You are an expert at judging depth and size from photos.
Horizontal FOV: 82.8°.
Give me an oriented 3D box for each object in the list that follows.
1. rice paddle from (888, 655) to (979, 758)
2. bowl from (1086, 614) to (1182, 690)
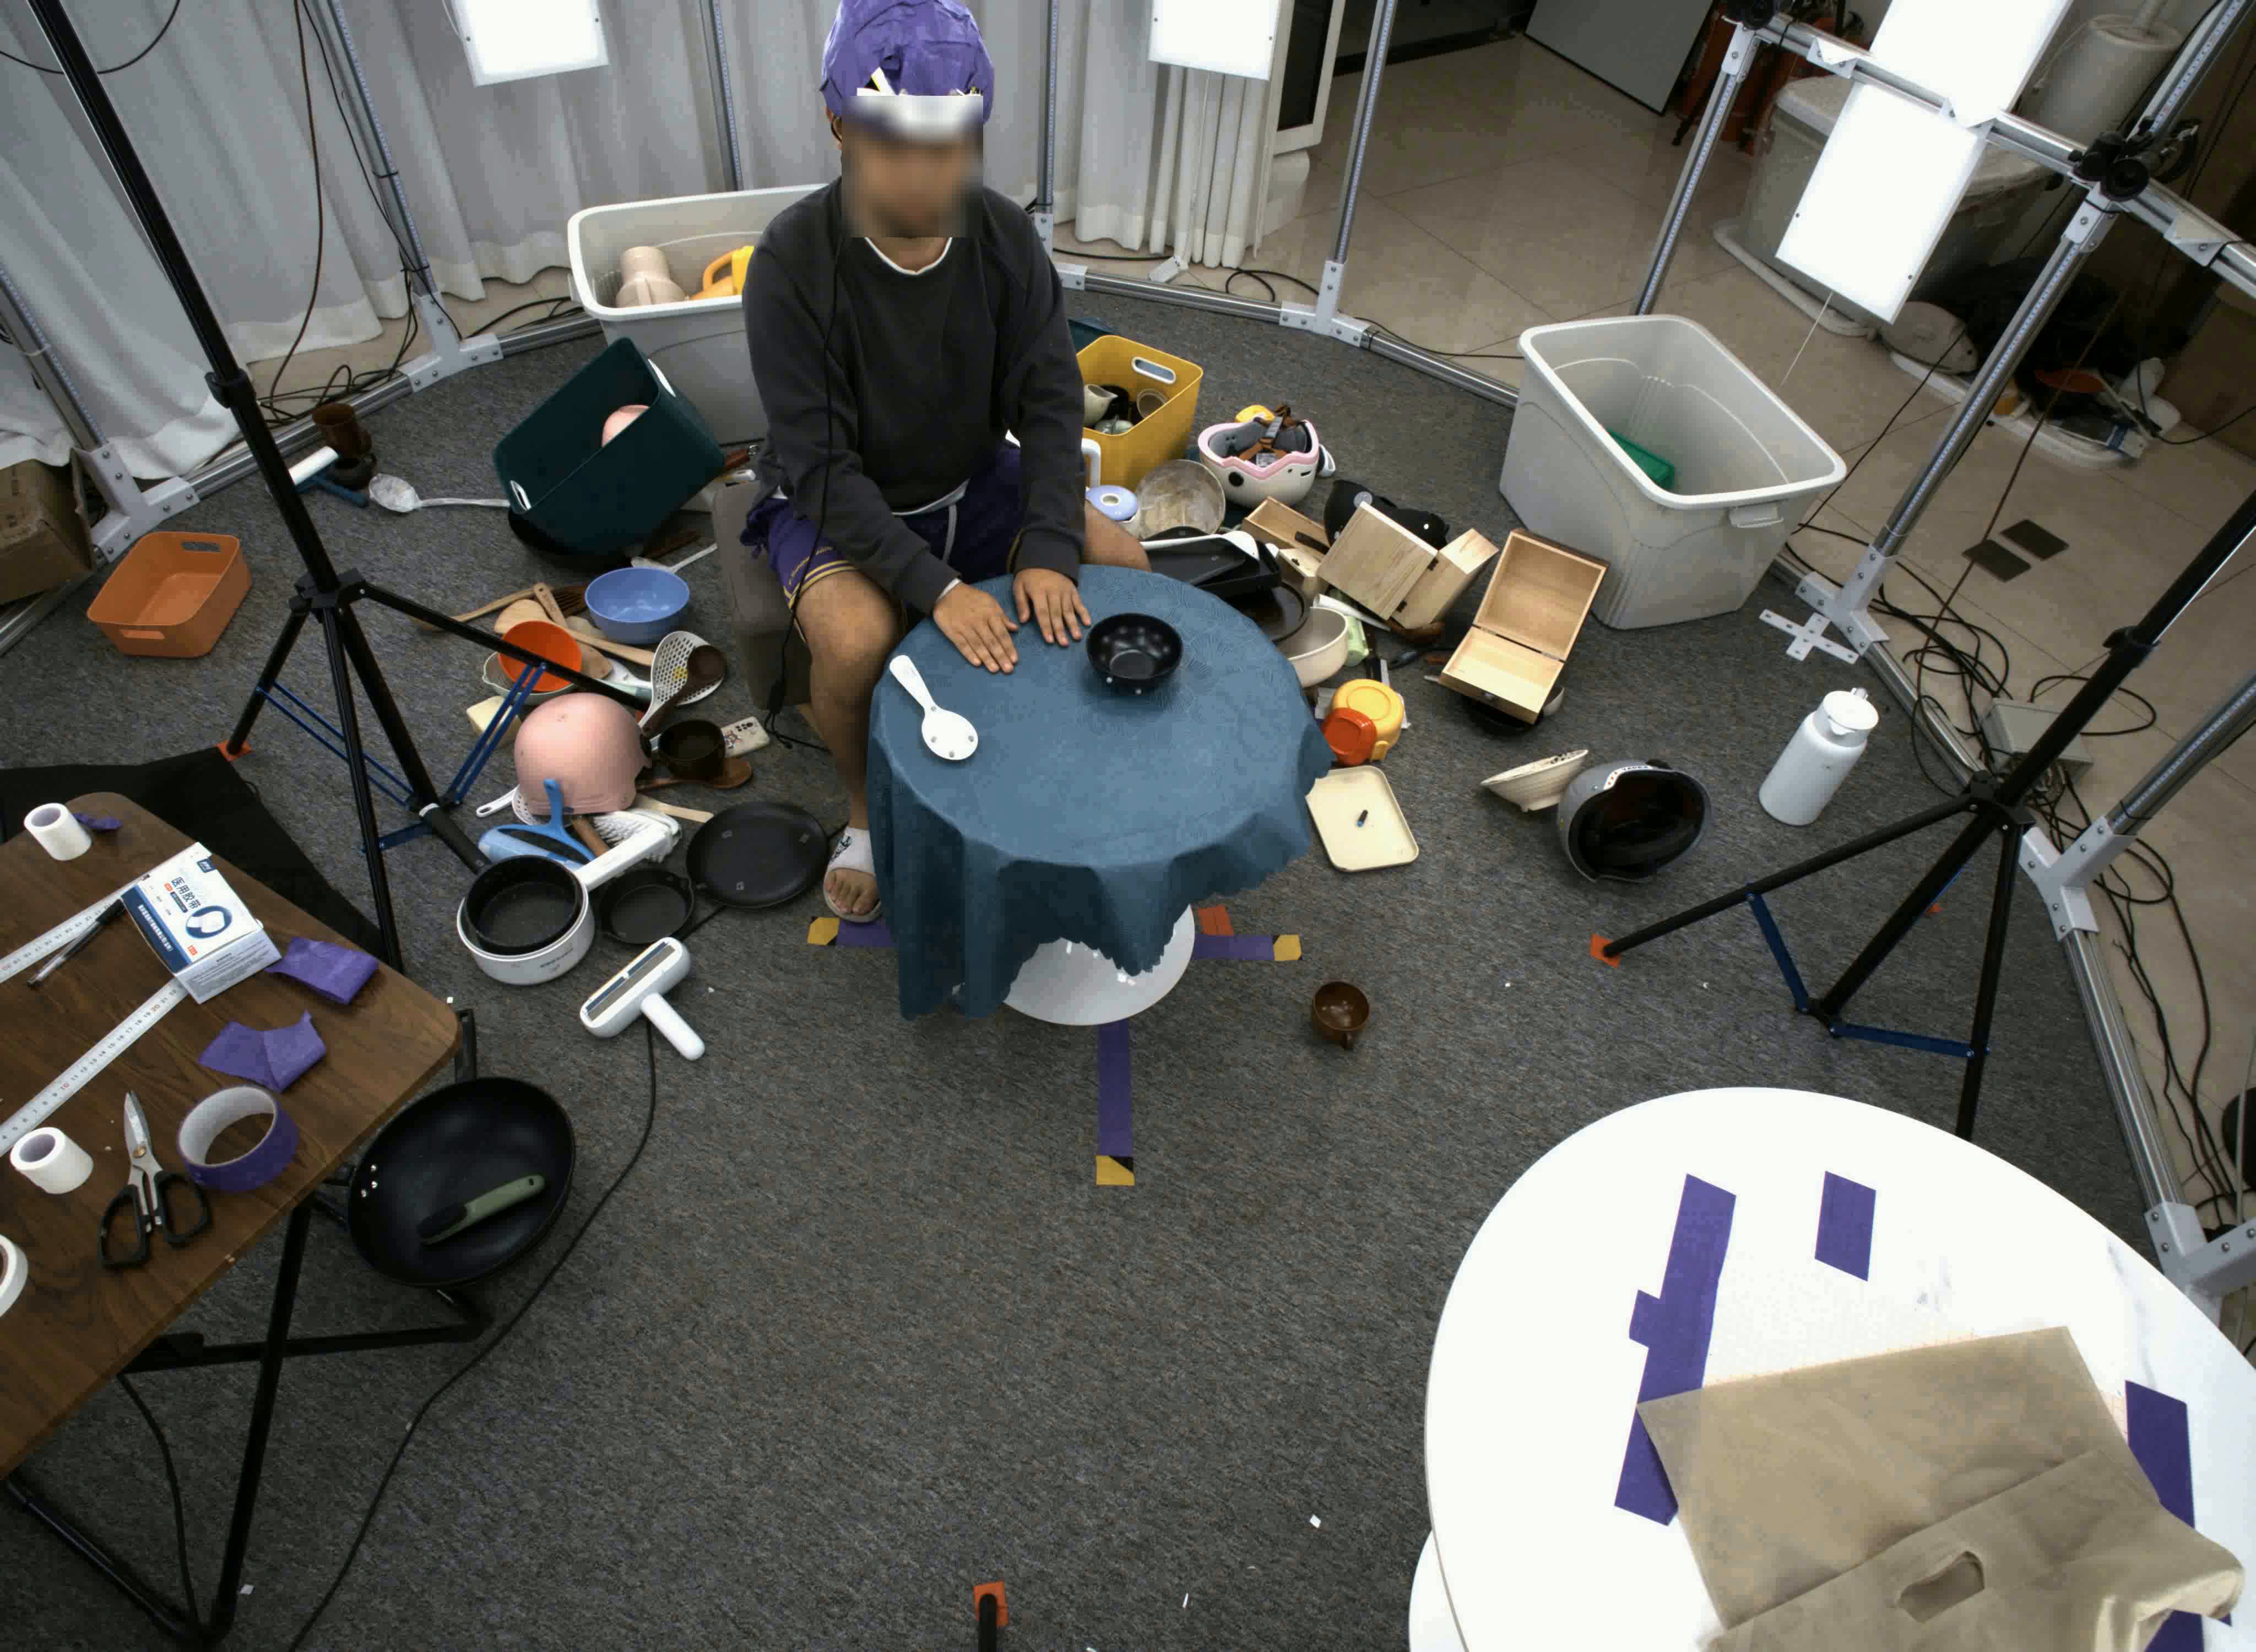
[{"bbox_3d":[-0.271,-0.164,1.771,0.069,0.029,0.209,-24,54,-21],"label":"rice paddle"},{"bbox_3d":[0.008,-0.242,1.848,0.140,0.048,0.143,1,48,-1],"label":"bowl"}]
